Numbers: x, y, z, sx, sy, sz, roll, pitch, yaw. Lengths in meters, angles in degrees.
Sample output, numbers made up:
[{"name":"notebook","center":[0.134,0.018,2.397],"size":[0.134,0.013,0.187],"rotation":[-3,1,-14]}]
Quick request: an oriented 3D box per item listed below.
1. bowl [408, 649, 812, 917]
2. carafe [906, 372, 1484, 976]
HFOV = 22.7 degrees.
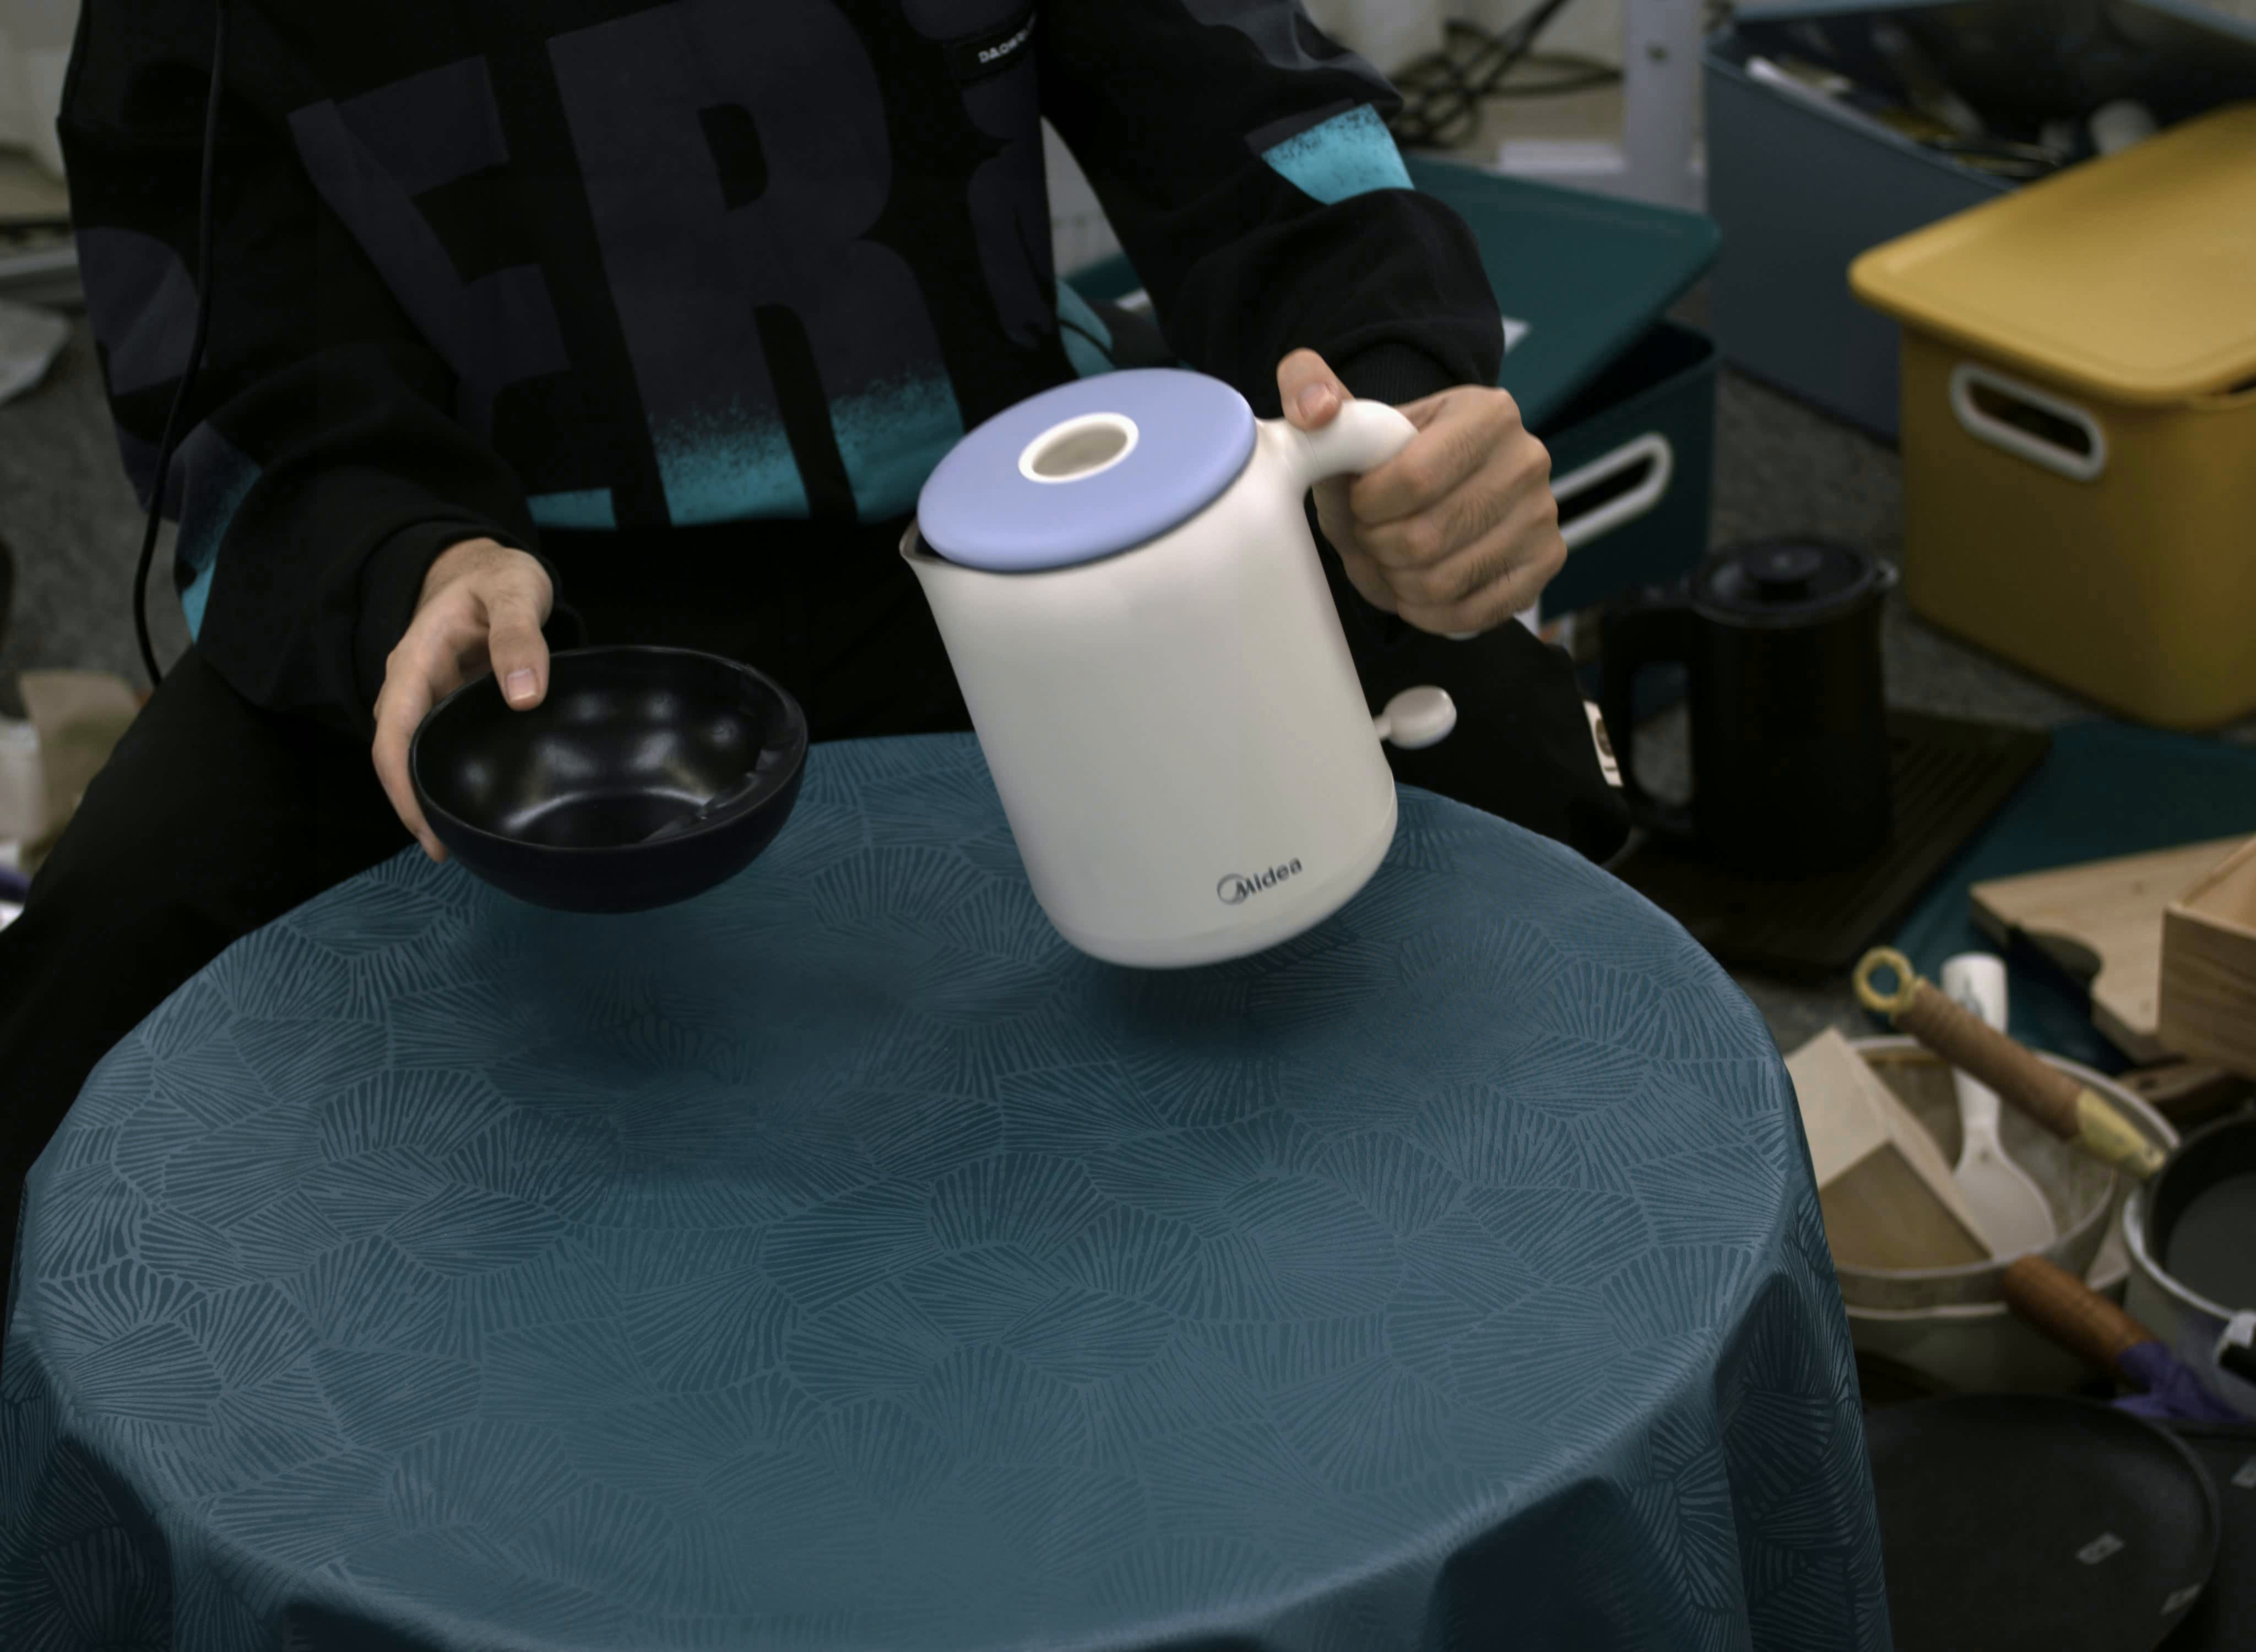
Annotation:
[{"name":"bowl","center":[-0.177,-0.007,1.939],"size":[0.139,0.049,0.142],"rotation":[-1,29,1]},{"name":"carafe","center":[0.031,-0.061,1.929],"size":[0.191,0.180,0.133],"rotation":[-22,31,-11]}]
